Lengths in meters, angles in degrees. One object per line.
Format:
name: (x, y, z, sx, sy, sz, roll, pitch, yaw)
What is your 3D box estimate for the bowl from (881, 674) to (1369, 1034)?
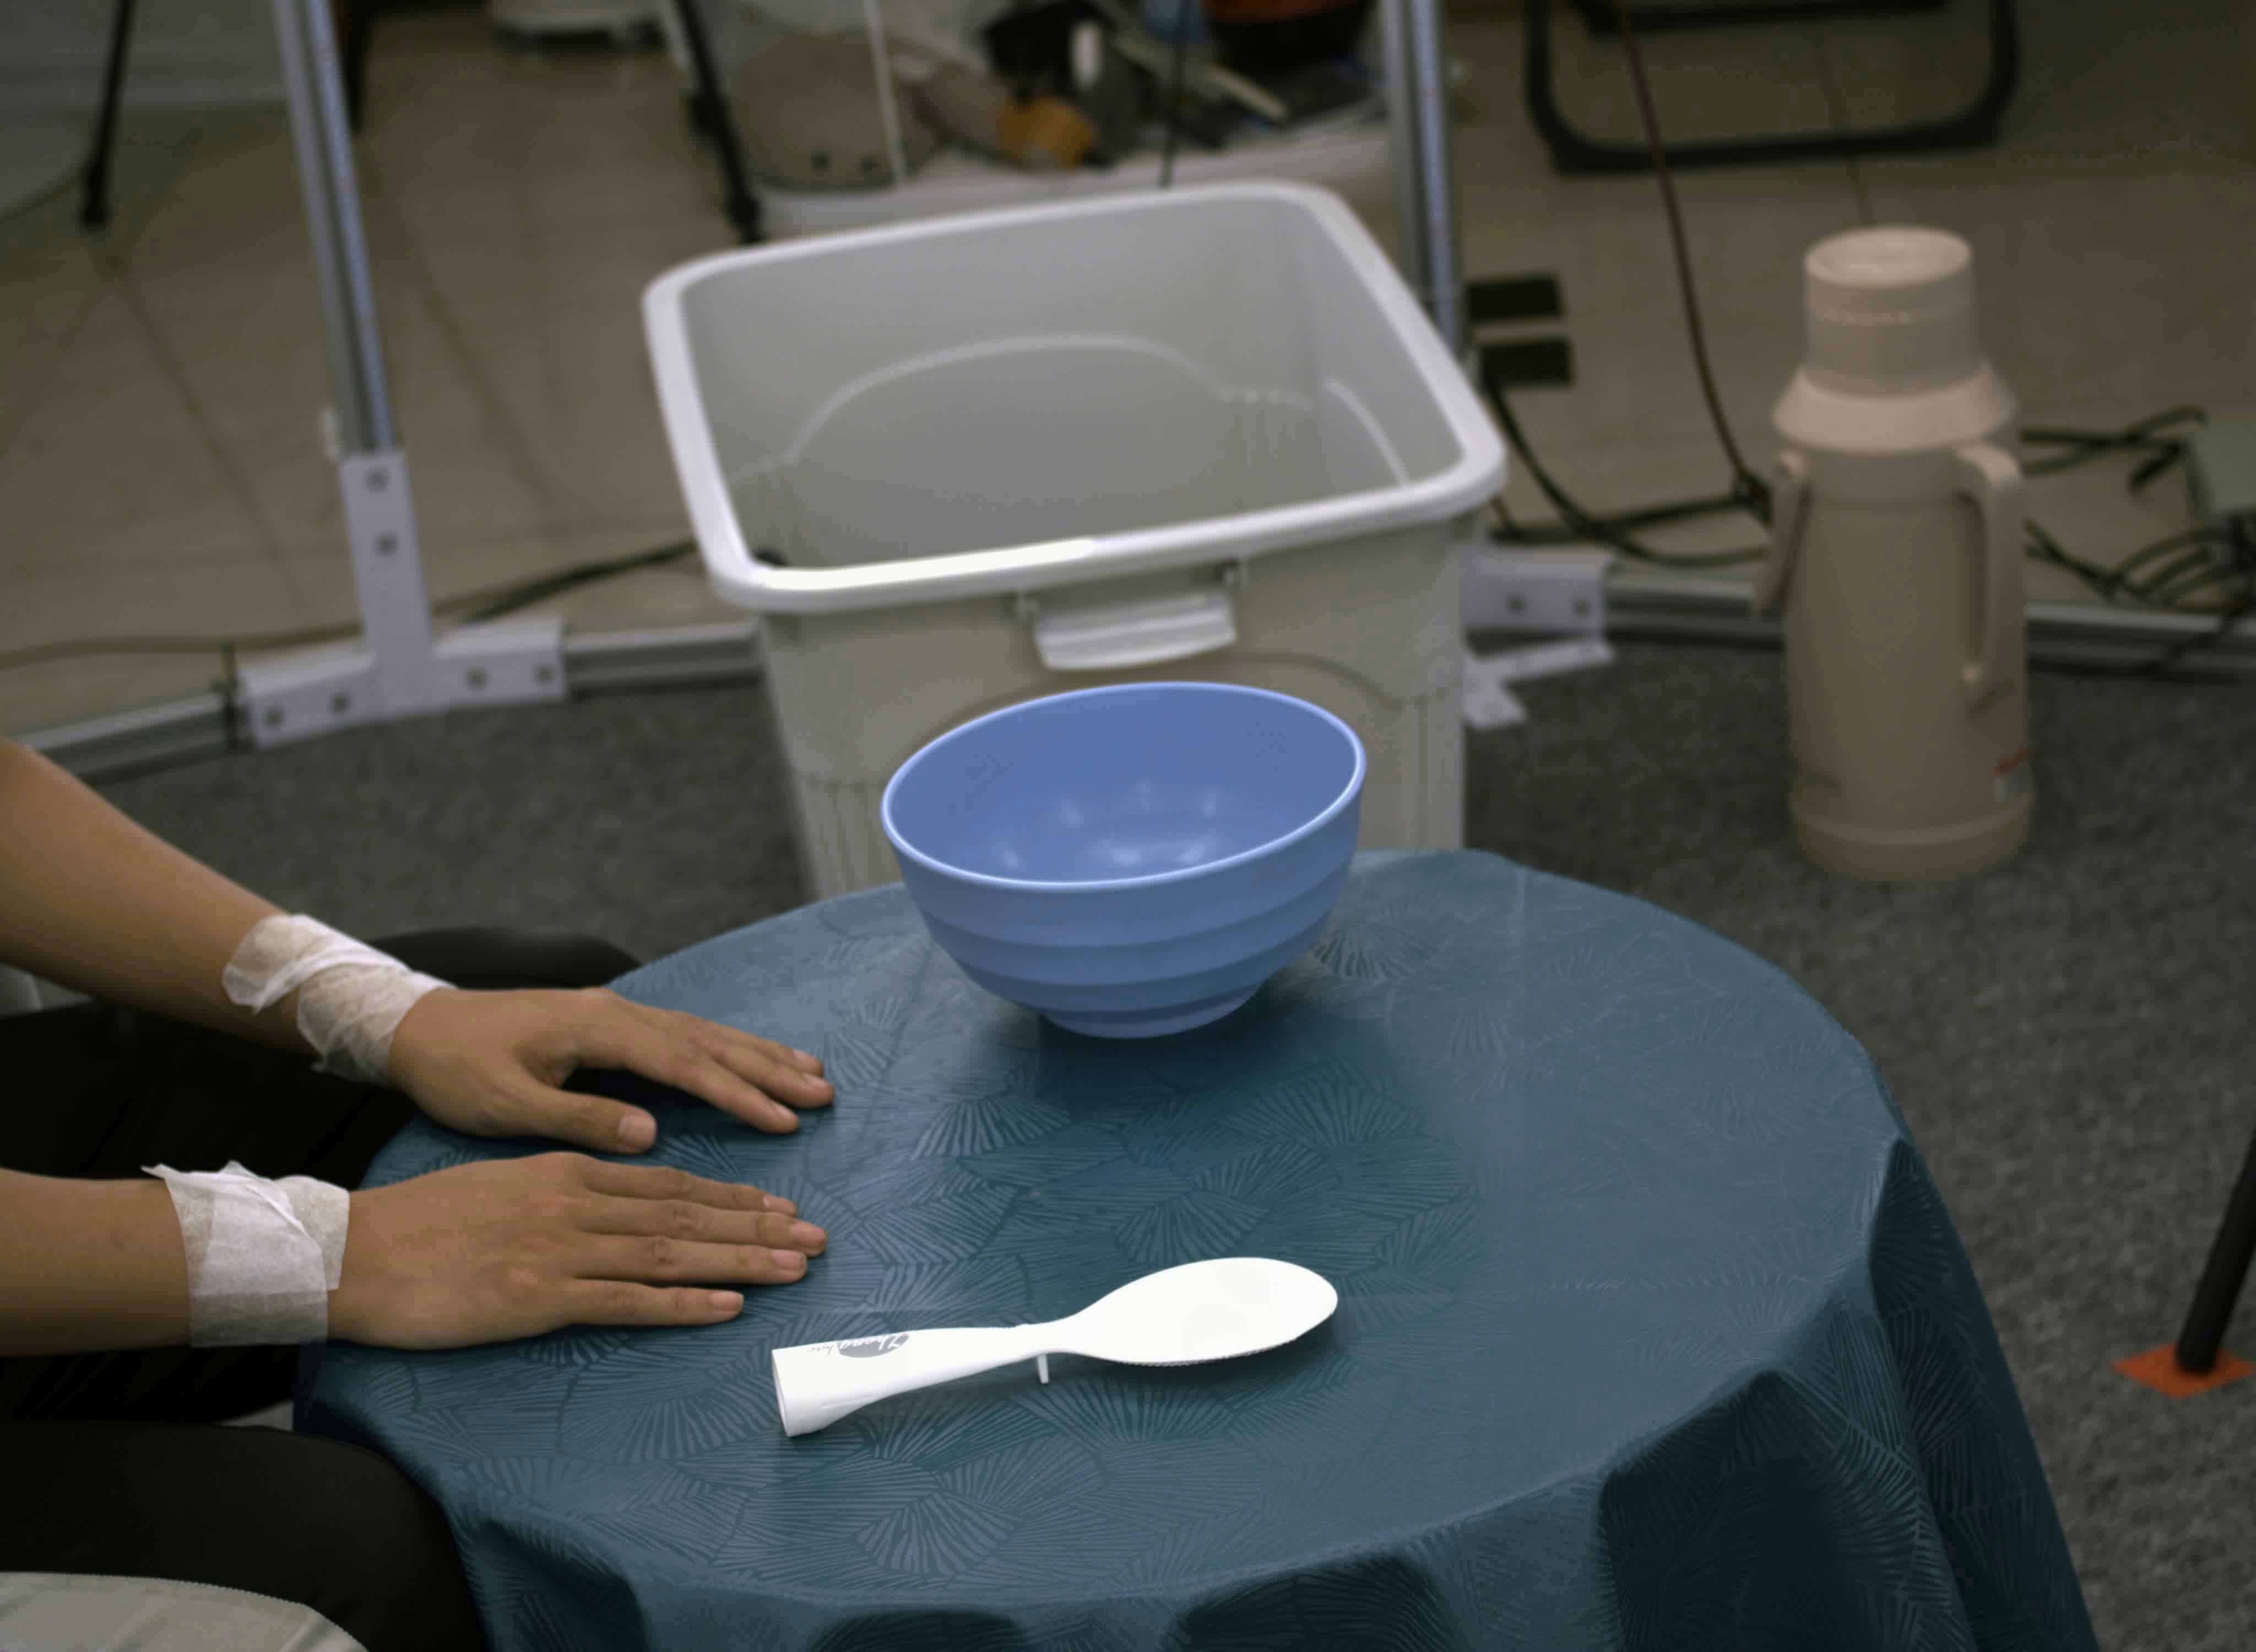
bowl: (0.002, 0.021, 2.285, 0.196, 0.097, 0.193, -4, 26, 2)

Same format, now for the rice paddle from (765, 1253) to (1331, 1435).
rice paddle: (-0.027, 0.182, 2.029, 0.205, 0.030, 0.068, -10, 27, -8)
